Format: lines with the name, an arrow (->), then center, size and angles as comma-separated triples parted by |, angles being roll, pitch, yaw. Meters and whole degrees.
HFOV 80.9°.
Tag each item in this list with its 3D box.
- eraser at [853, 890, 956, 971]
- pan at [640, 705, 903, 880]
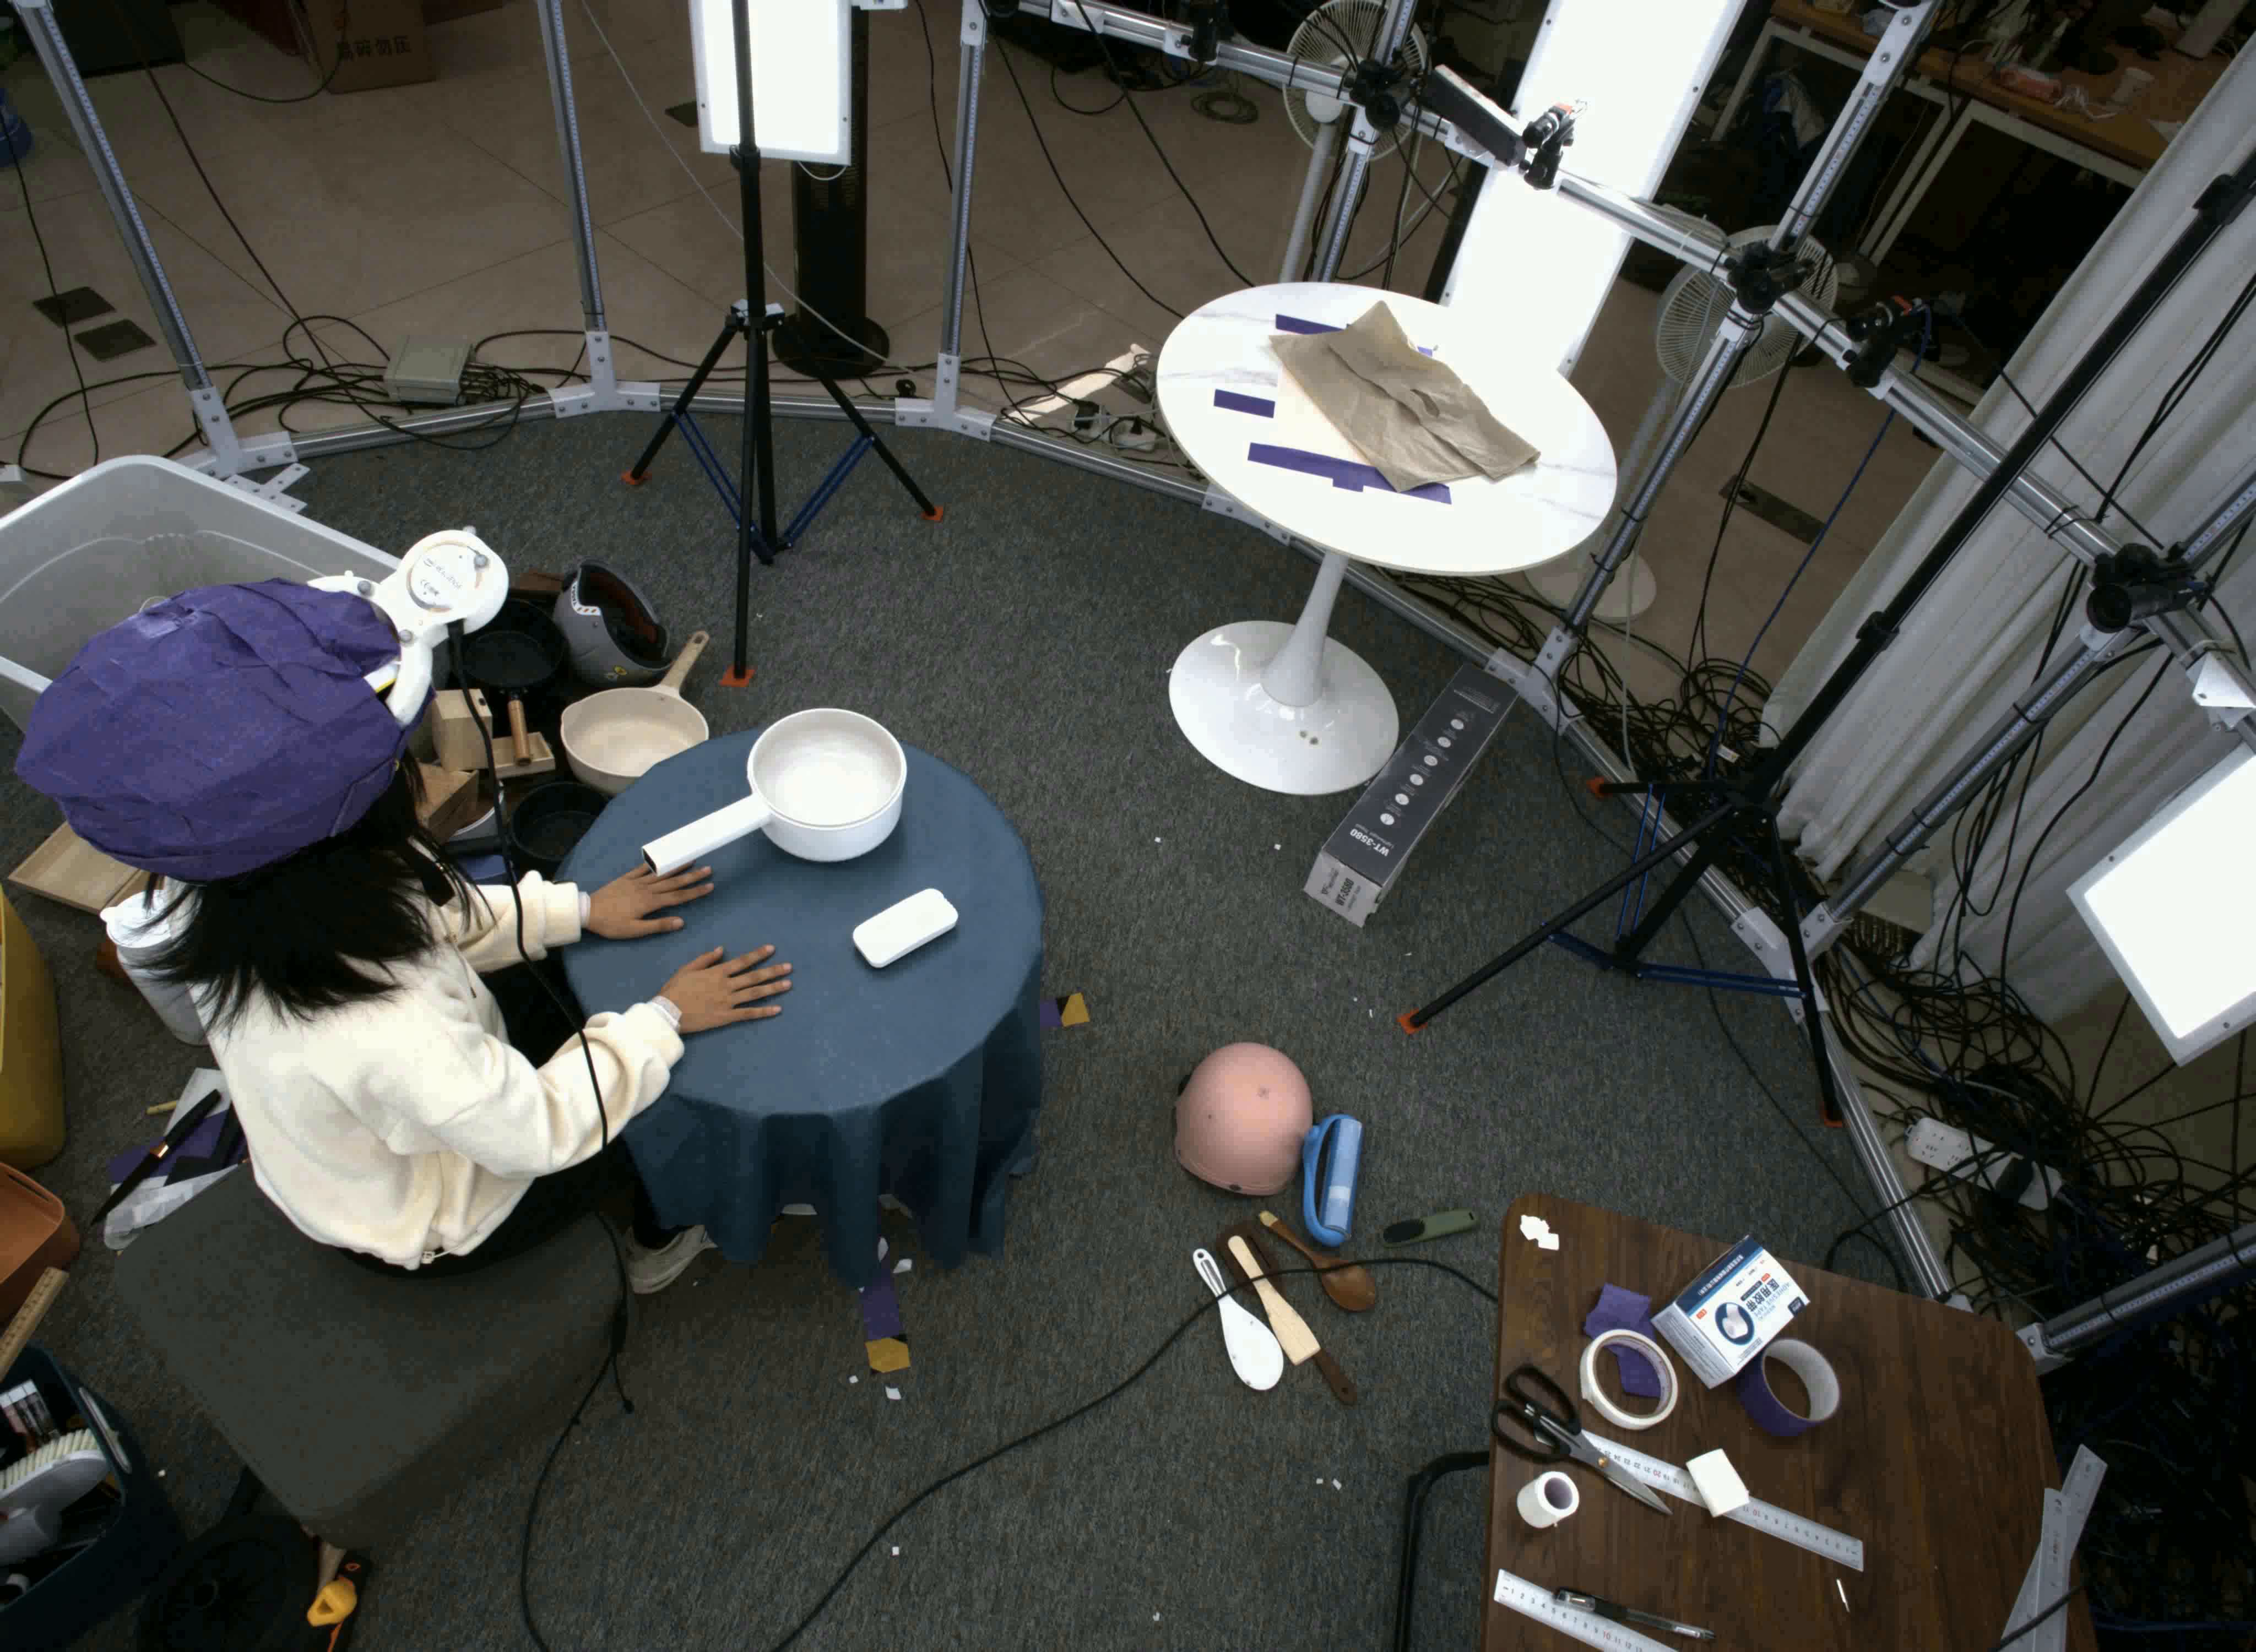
eraser -> -0.282, 0.127, 1.642 | 0.132, 0.035, 0.062 | -30, 63, -31
pan -> -0.452, -0.016, 1.660 | 0.356, 0.104, 0.196 | -33, 66, -30
